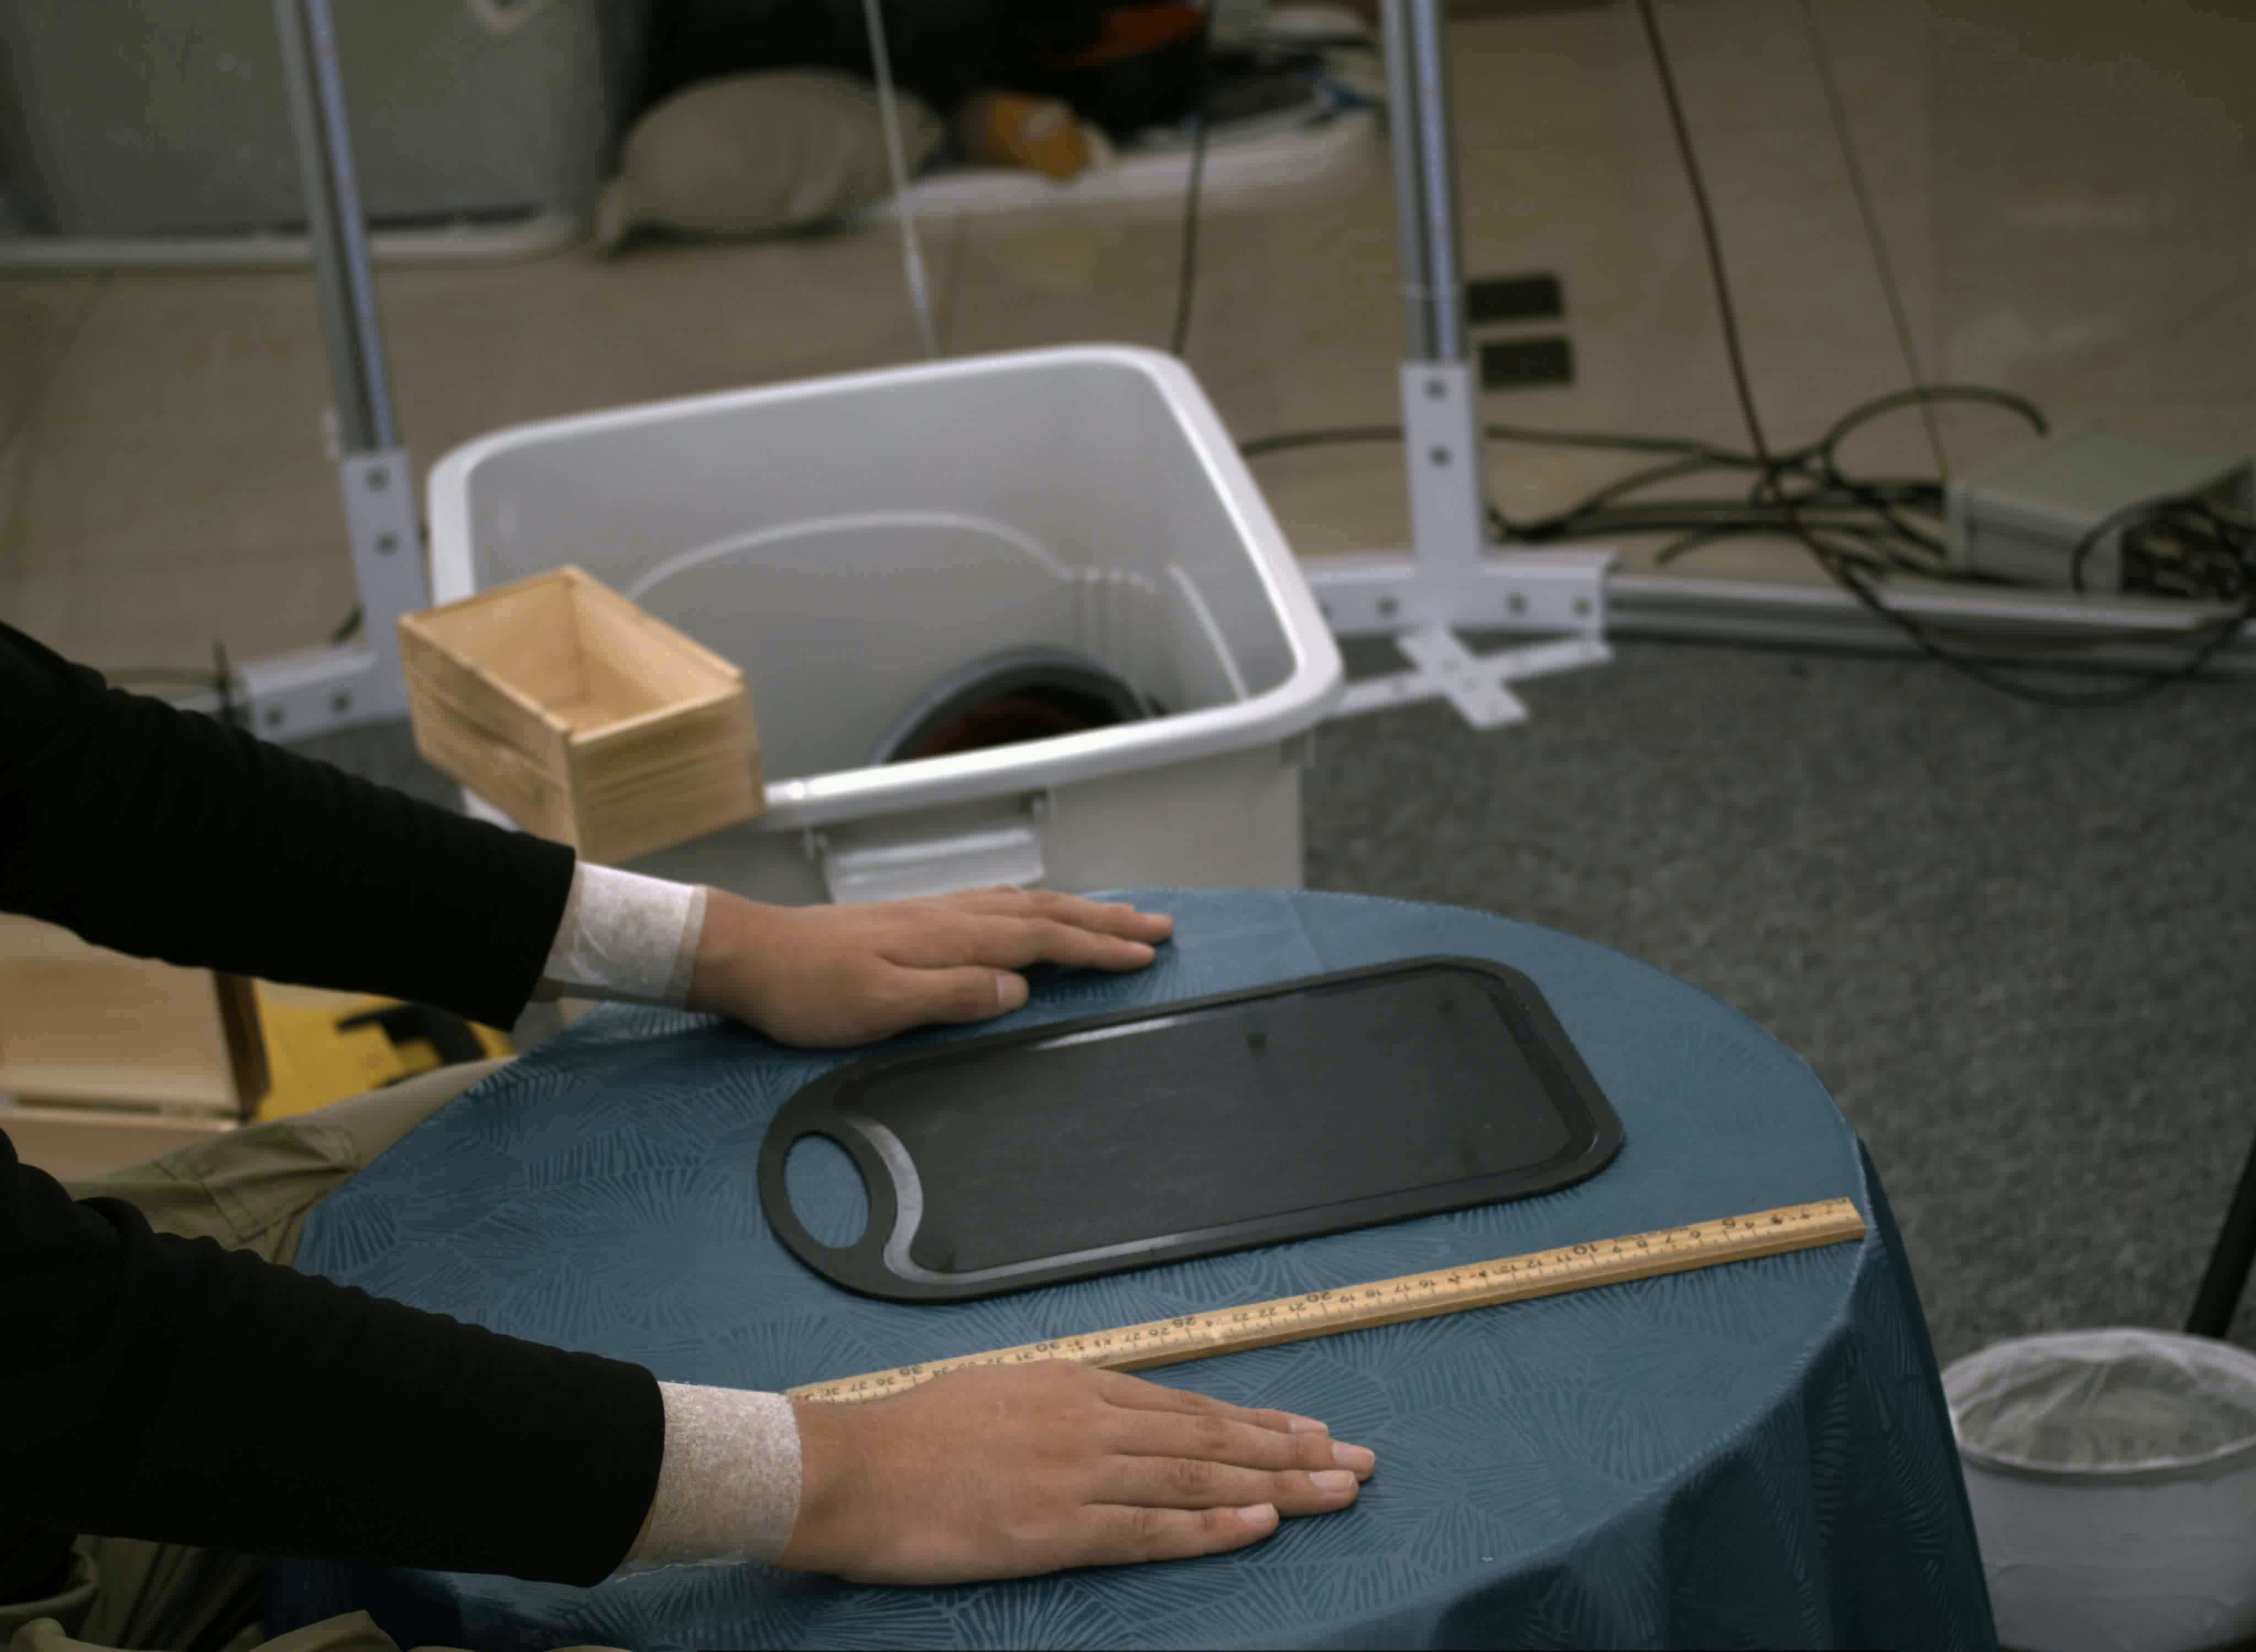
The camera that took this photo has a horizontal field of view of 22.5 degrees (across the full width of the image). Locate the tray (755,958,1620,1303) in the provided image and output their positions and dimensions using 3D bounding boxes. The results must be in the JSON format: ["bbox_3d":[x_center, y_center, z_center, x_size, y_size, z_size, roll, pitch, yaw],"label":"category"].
[{"bbox_3d":[0.017,0.115,2.187,0.325,0.010,0.208,-10,25,-7],"label":"tray"}]

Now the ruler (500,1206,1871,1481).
[{"bbox_3d":[0.022,0.184,2.040,0.499,0.006,0.026,-9,22,-6],"label":"ruler"}]
